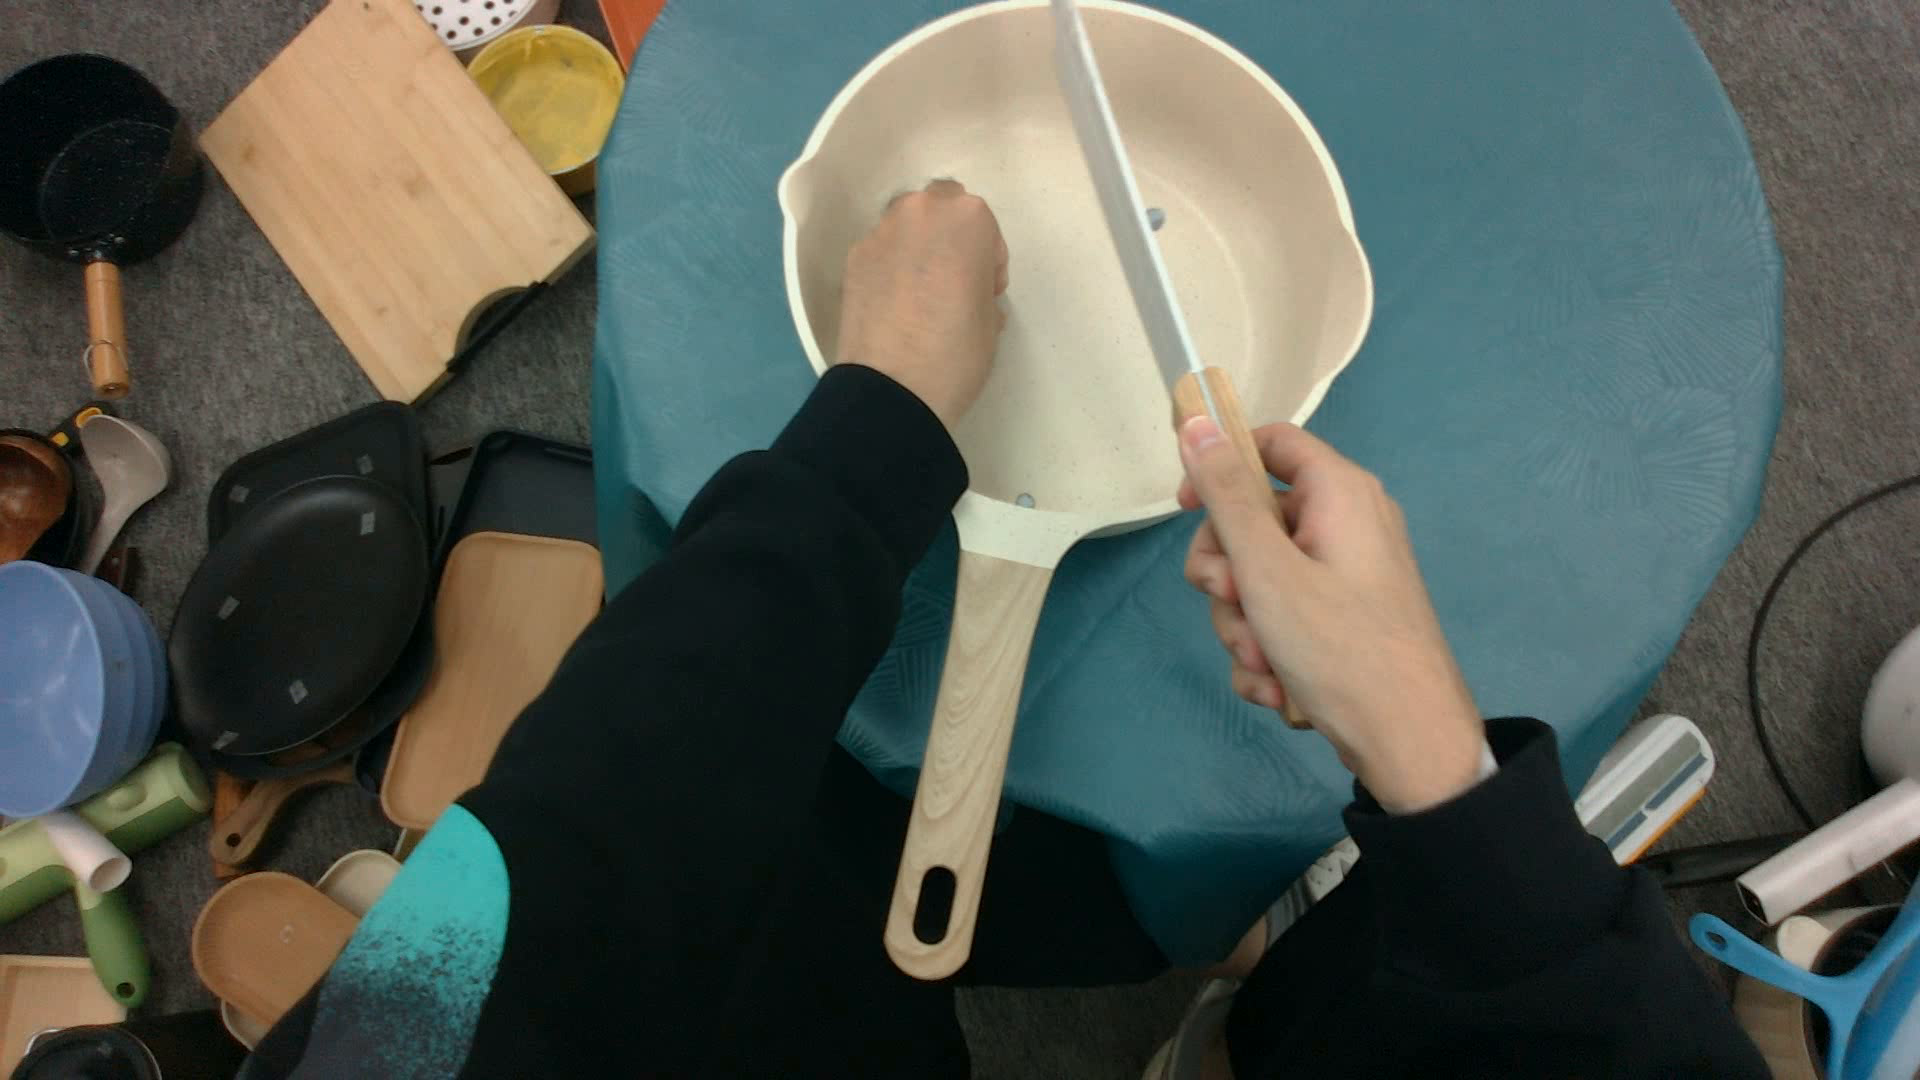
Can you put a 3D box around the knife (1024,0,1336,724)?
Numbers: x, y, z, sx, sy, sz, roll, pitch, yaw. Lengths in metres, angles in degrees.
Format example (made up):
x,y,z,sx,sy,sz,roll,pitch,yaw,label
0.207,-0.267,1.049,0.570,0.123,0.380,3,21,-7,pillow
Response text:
x,y,z,sx,sy,sz,roll,pitch,yaw,label
0.072,-0.080,0.523,0.022,0.113,0.316,-19,70,2,knife

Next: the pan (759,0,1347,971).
x,y,z,sx,sy,sz,roll,pitch,yaw,label
0.022,-0.037,0.610,0.263,0.101,0.436,12,74,-2,pan
